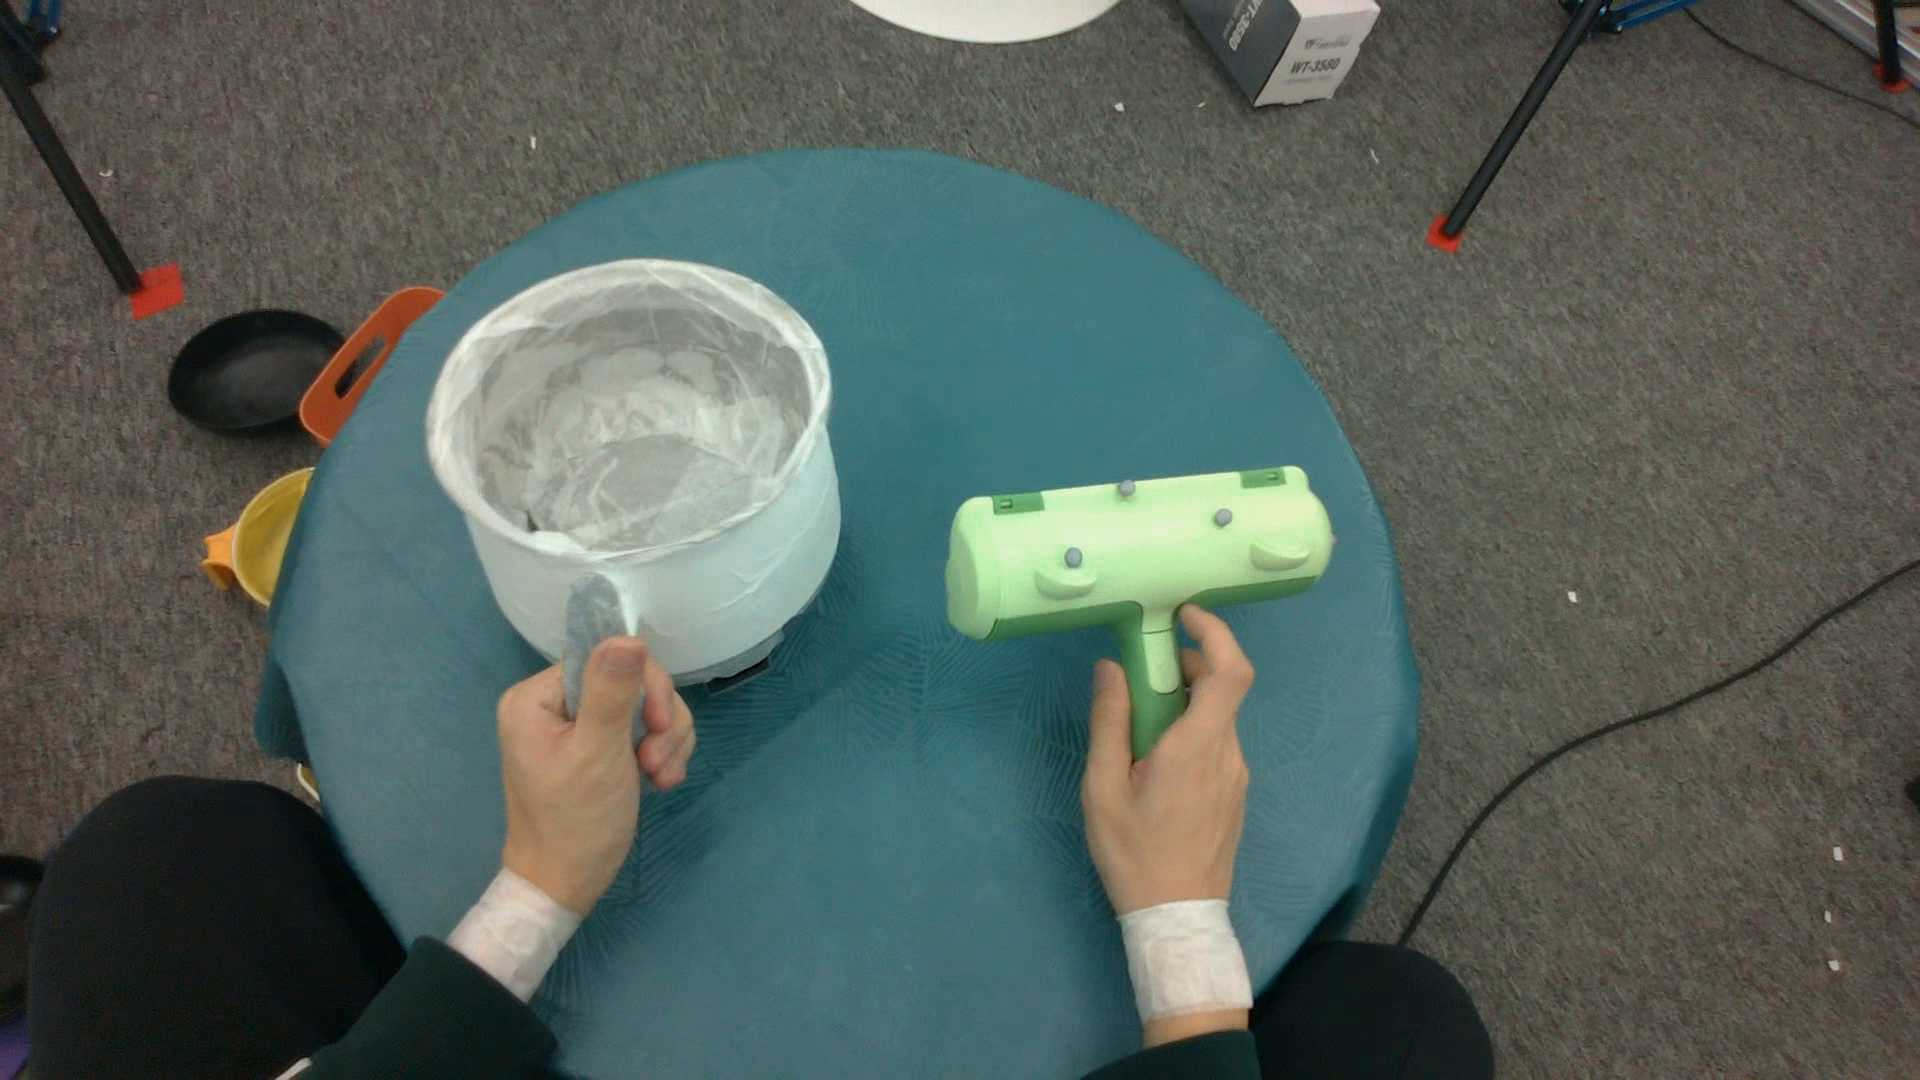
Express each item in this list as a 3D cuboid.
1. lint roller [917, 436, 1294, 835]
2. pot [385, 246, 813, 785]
[{"bbox_3d":[0.087,0.050,0.654,0.199,0.082,0.183,-10,86,-28],"label":"lint roller"},{"bbox_3d":[-0.162,-0.010,0.648,0.179,0.136,0.234,-3,55,1],"label":"pot"}]
